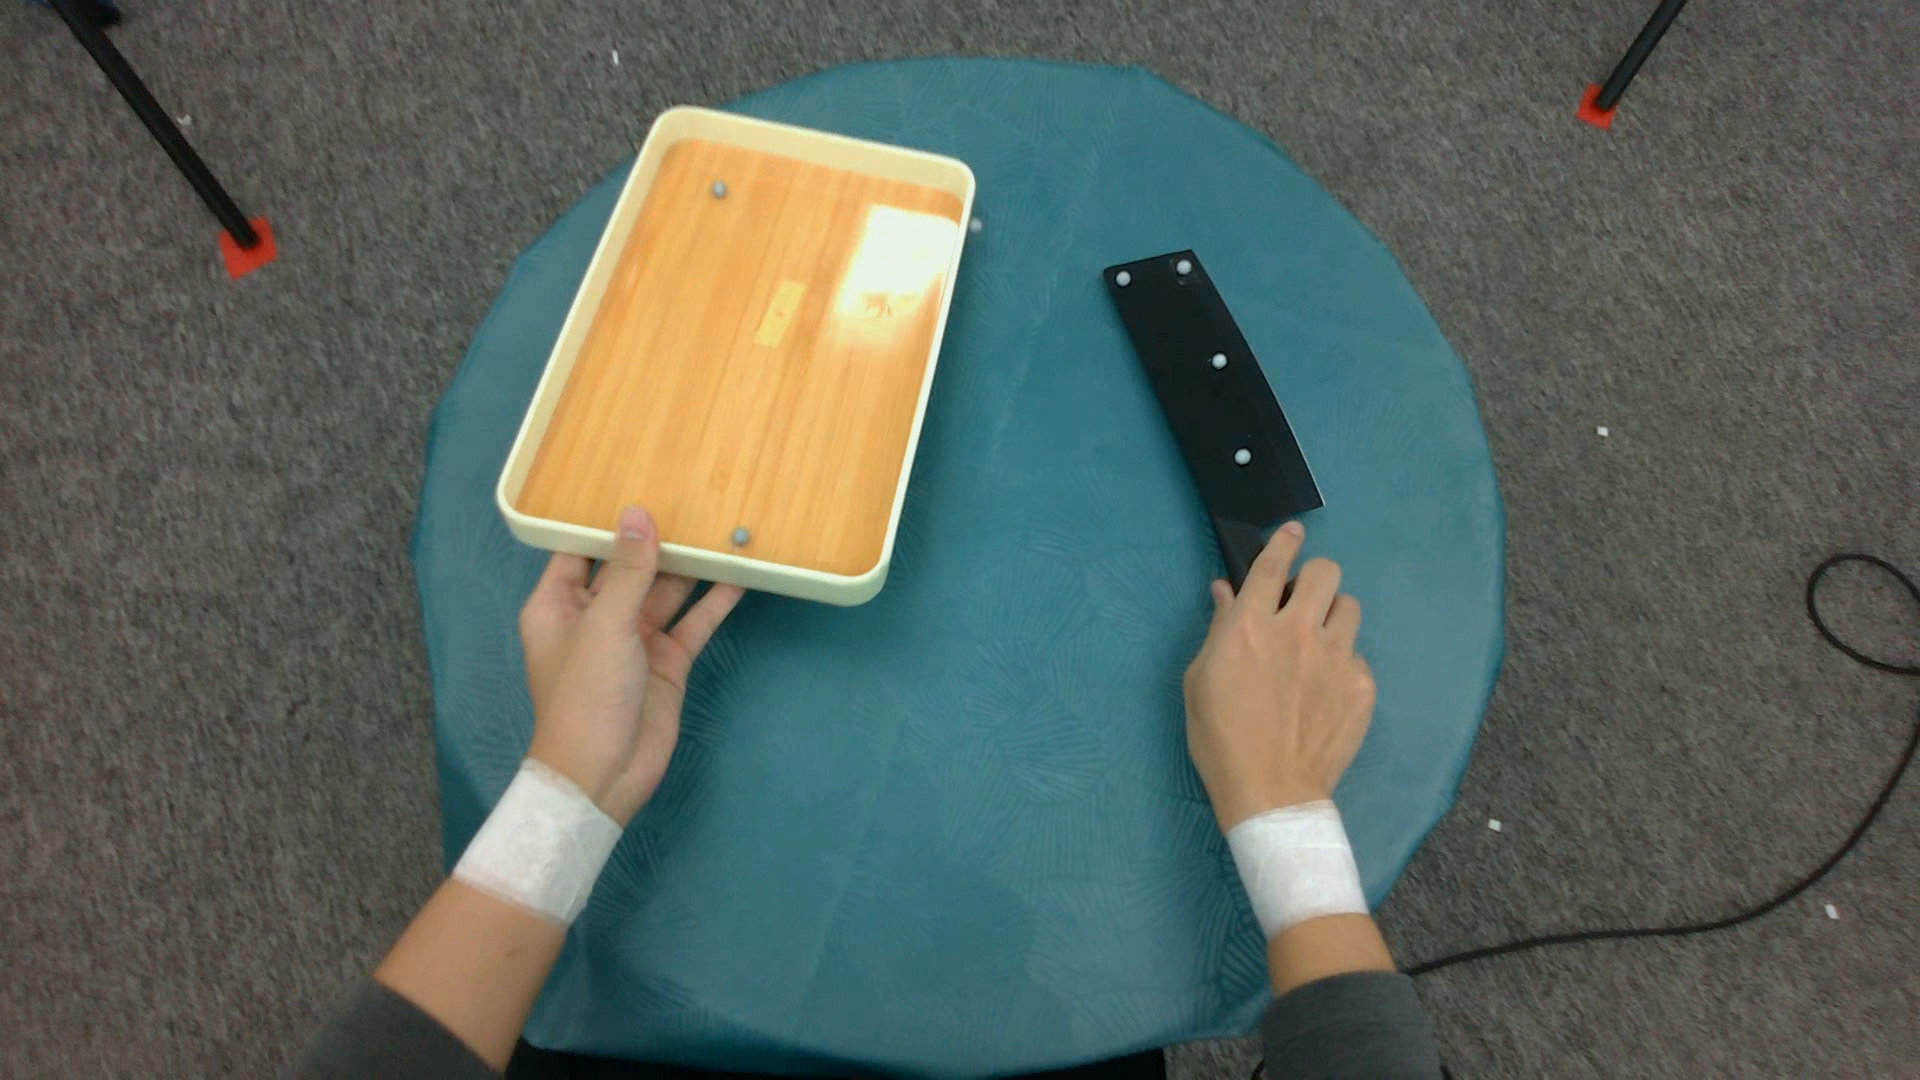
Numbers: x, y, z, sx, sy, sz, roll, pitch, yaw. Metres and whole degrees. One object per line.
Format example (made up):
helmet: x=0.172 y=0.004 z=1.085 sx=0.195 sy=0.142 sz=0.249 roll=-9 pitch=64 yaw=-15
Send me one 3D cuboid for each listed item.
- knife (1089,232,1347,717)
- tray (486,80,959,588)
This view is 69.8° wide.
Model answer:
knife: x=0.149 y=-0.044 z=0.764 sx=0.081 sy=0.021 sz=0.303 roll=-11 pitch=68 yaw=-11
tray: x=-0.115 y=-0.122 z=0.738 sx=0.191 sy=0.027 sz=0.301 roll=11 pitch=59 yaw=-1
